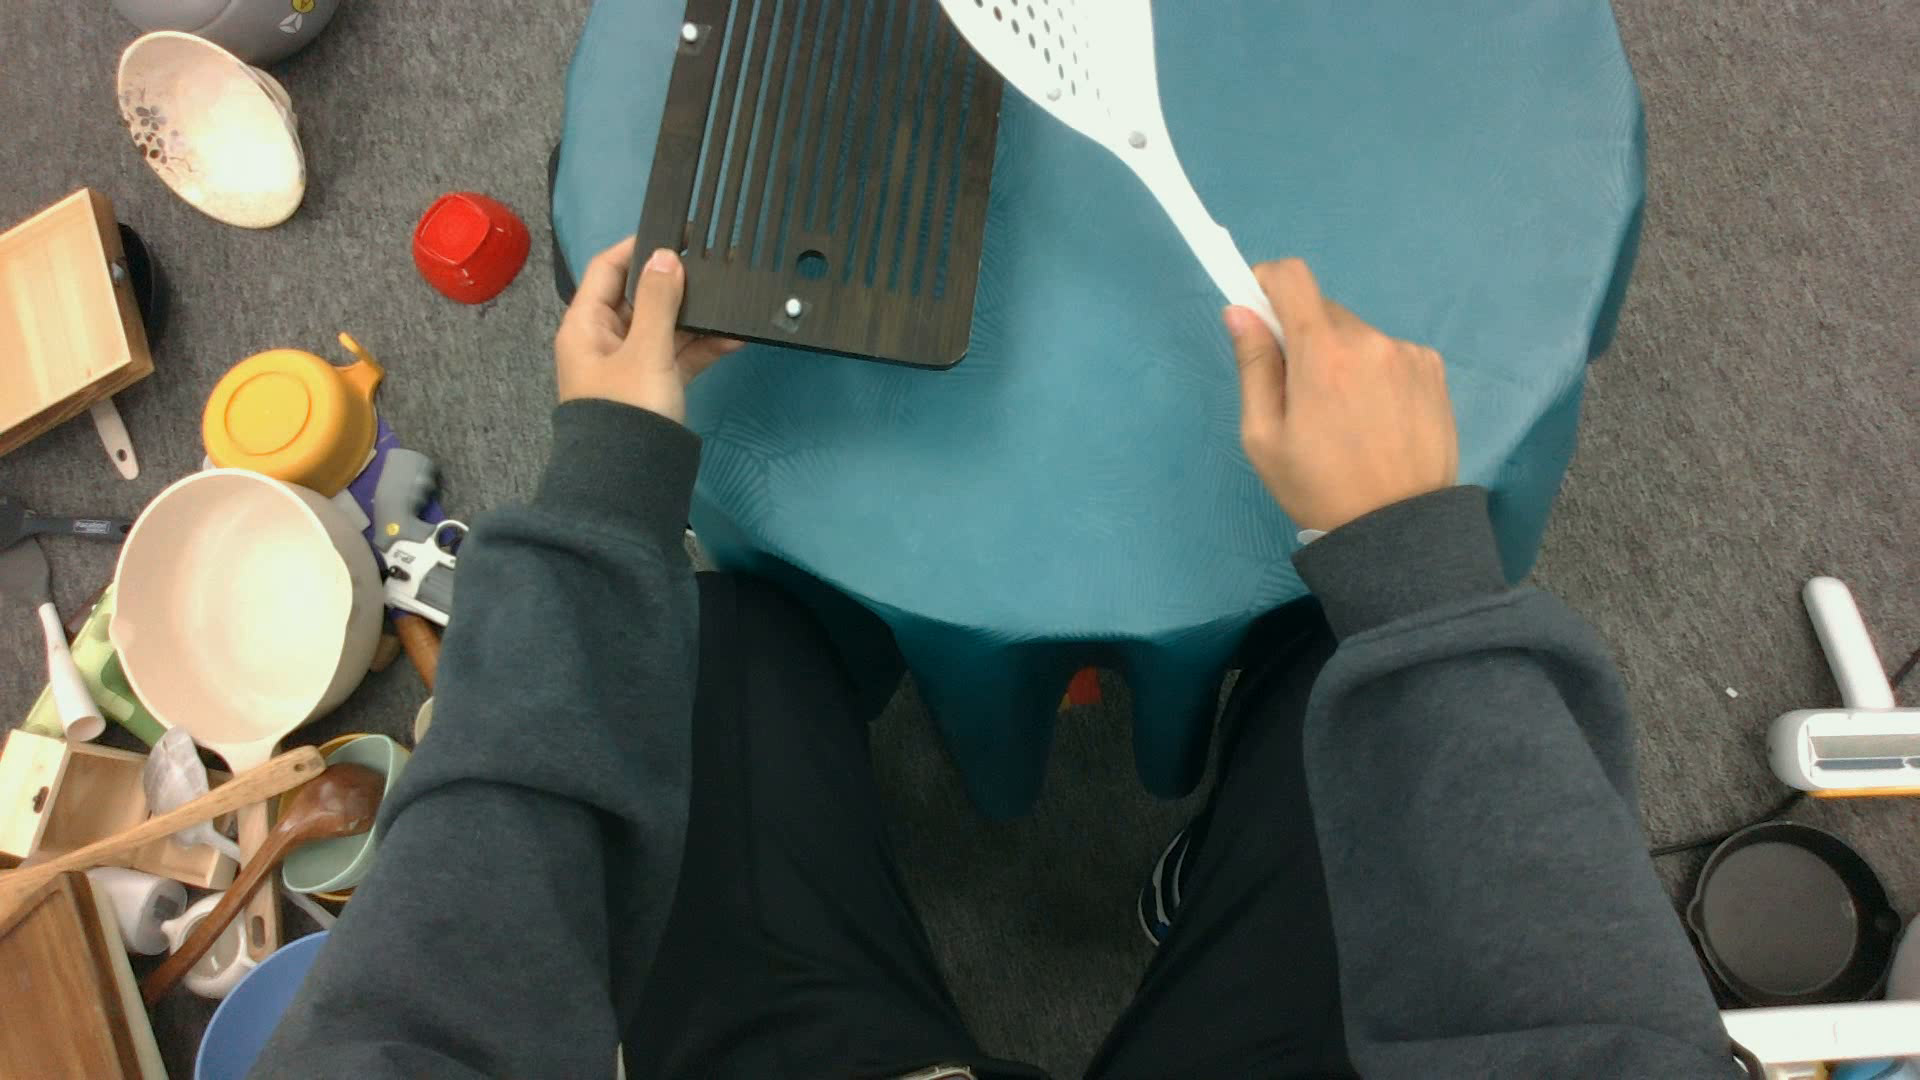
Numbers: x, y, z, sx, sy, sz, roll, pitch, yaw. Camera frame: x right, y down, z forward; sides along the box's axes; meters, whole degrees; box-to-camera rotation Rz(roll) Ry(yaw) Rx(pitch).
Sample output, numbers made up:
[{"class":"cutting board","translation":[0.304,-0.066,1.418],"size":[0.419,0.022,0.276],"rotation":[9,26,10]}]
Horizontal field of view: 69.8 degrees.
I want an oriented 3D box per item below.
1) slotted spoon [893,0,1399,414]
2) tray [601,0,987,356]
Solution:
[{"class":"slotted spoon","translation":[0.078,-0.189,0.622],"size":[0.050,0.136,0.348],"rotation":[-32,87,-27]},{"class":"tray","translation":[-0.076,-0.243,0.722],"size":[0.170,0.018,0.307],"rotation":[8,72,-4]}]
